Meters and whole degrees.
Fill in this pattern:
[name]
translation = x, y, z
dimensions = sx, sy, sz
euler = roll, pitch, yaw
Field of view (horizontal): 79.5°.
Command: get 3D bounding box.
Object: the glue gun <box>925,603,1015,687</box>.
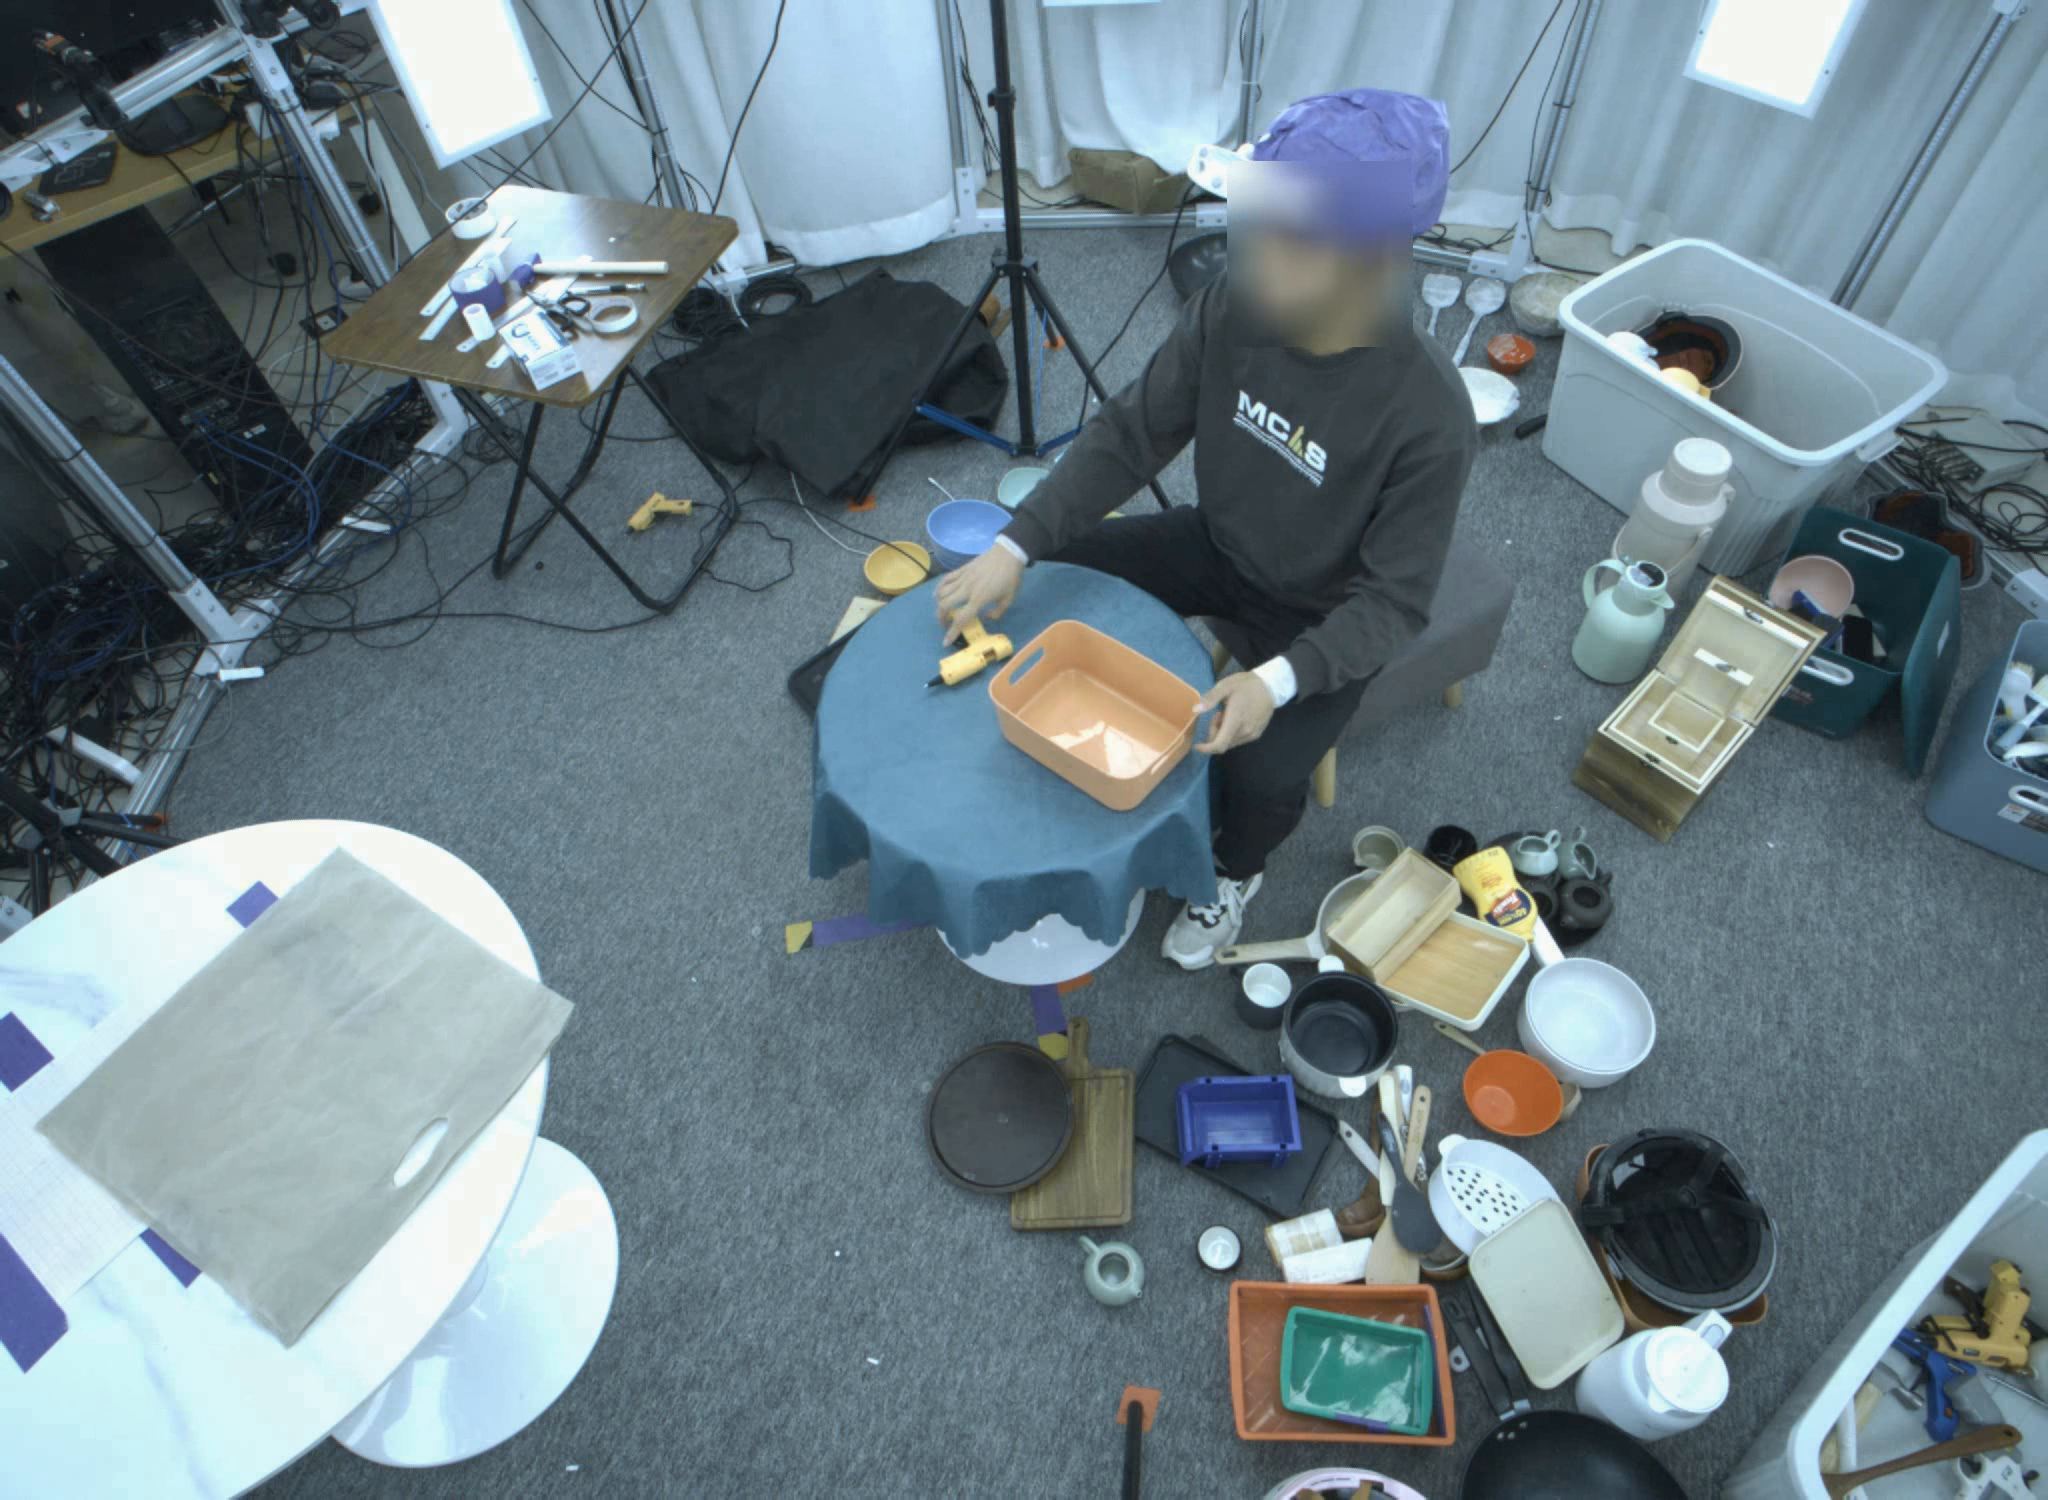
[glue gun]
translation = -0.110, -0.156, 1.887
dimensions = 0.152, 0.031, 0.130
euler = -31, 58, -20

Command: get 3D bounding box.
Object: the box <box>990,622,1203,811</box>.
[box]
translation = 0.103, -0.047, 1.752
dimensions = 0.268, 0.104, 0.200
euler = 33, 62, 24
